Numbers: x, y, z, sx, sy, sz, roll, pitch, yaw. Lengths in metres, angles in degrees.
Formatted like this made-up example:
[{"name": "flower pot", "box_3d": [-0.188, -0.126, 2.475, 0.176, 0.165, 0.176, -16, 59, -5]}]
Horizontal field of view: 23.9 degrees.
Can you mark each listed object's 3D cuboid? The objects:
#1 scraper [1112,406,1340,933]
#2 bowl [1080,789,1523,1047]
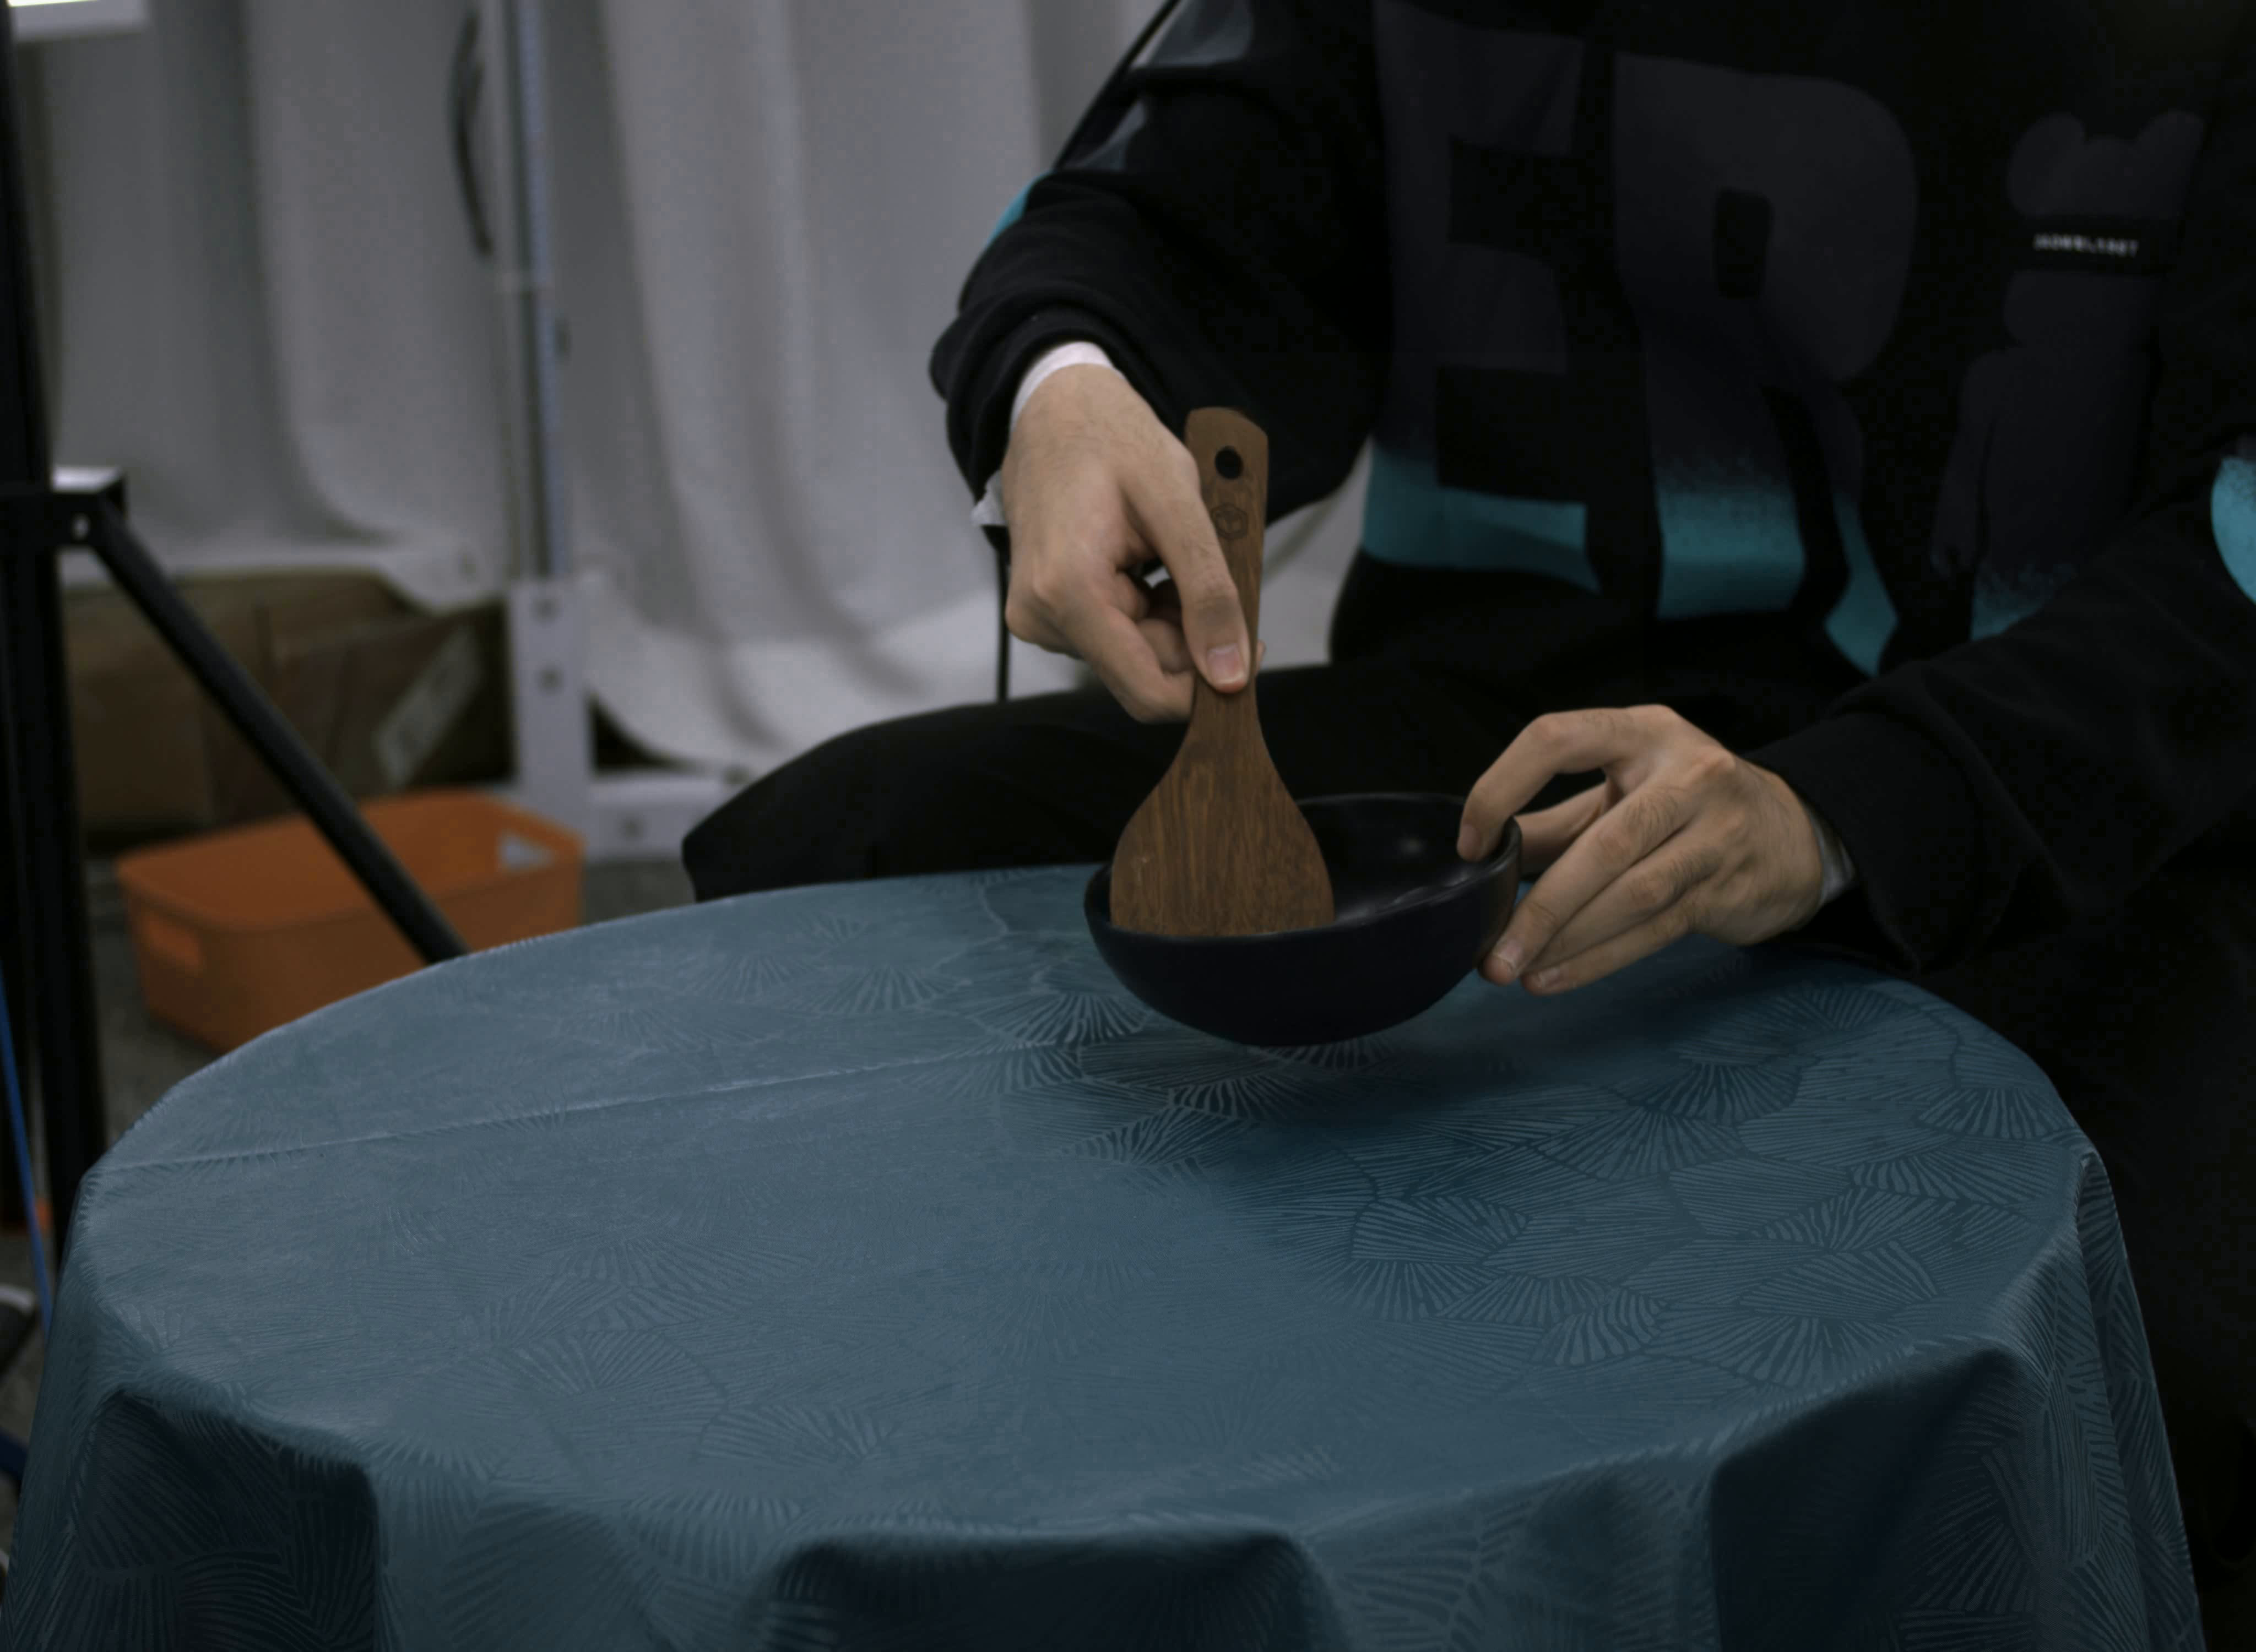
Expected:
[{"name": "scraper", "box_3d": [0.032, -0.041, 1.685, 0.075, 0.213, 0.011, 7, -28, -11]}, {"name": "bowl", "box_3d": [0.057, 0.034, 1.641, 0.139, 0.049, 0.141, -11, 15, 2]}]
